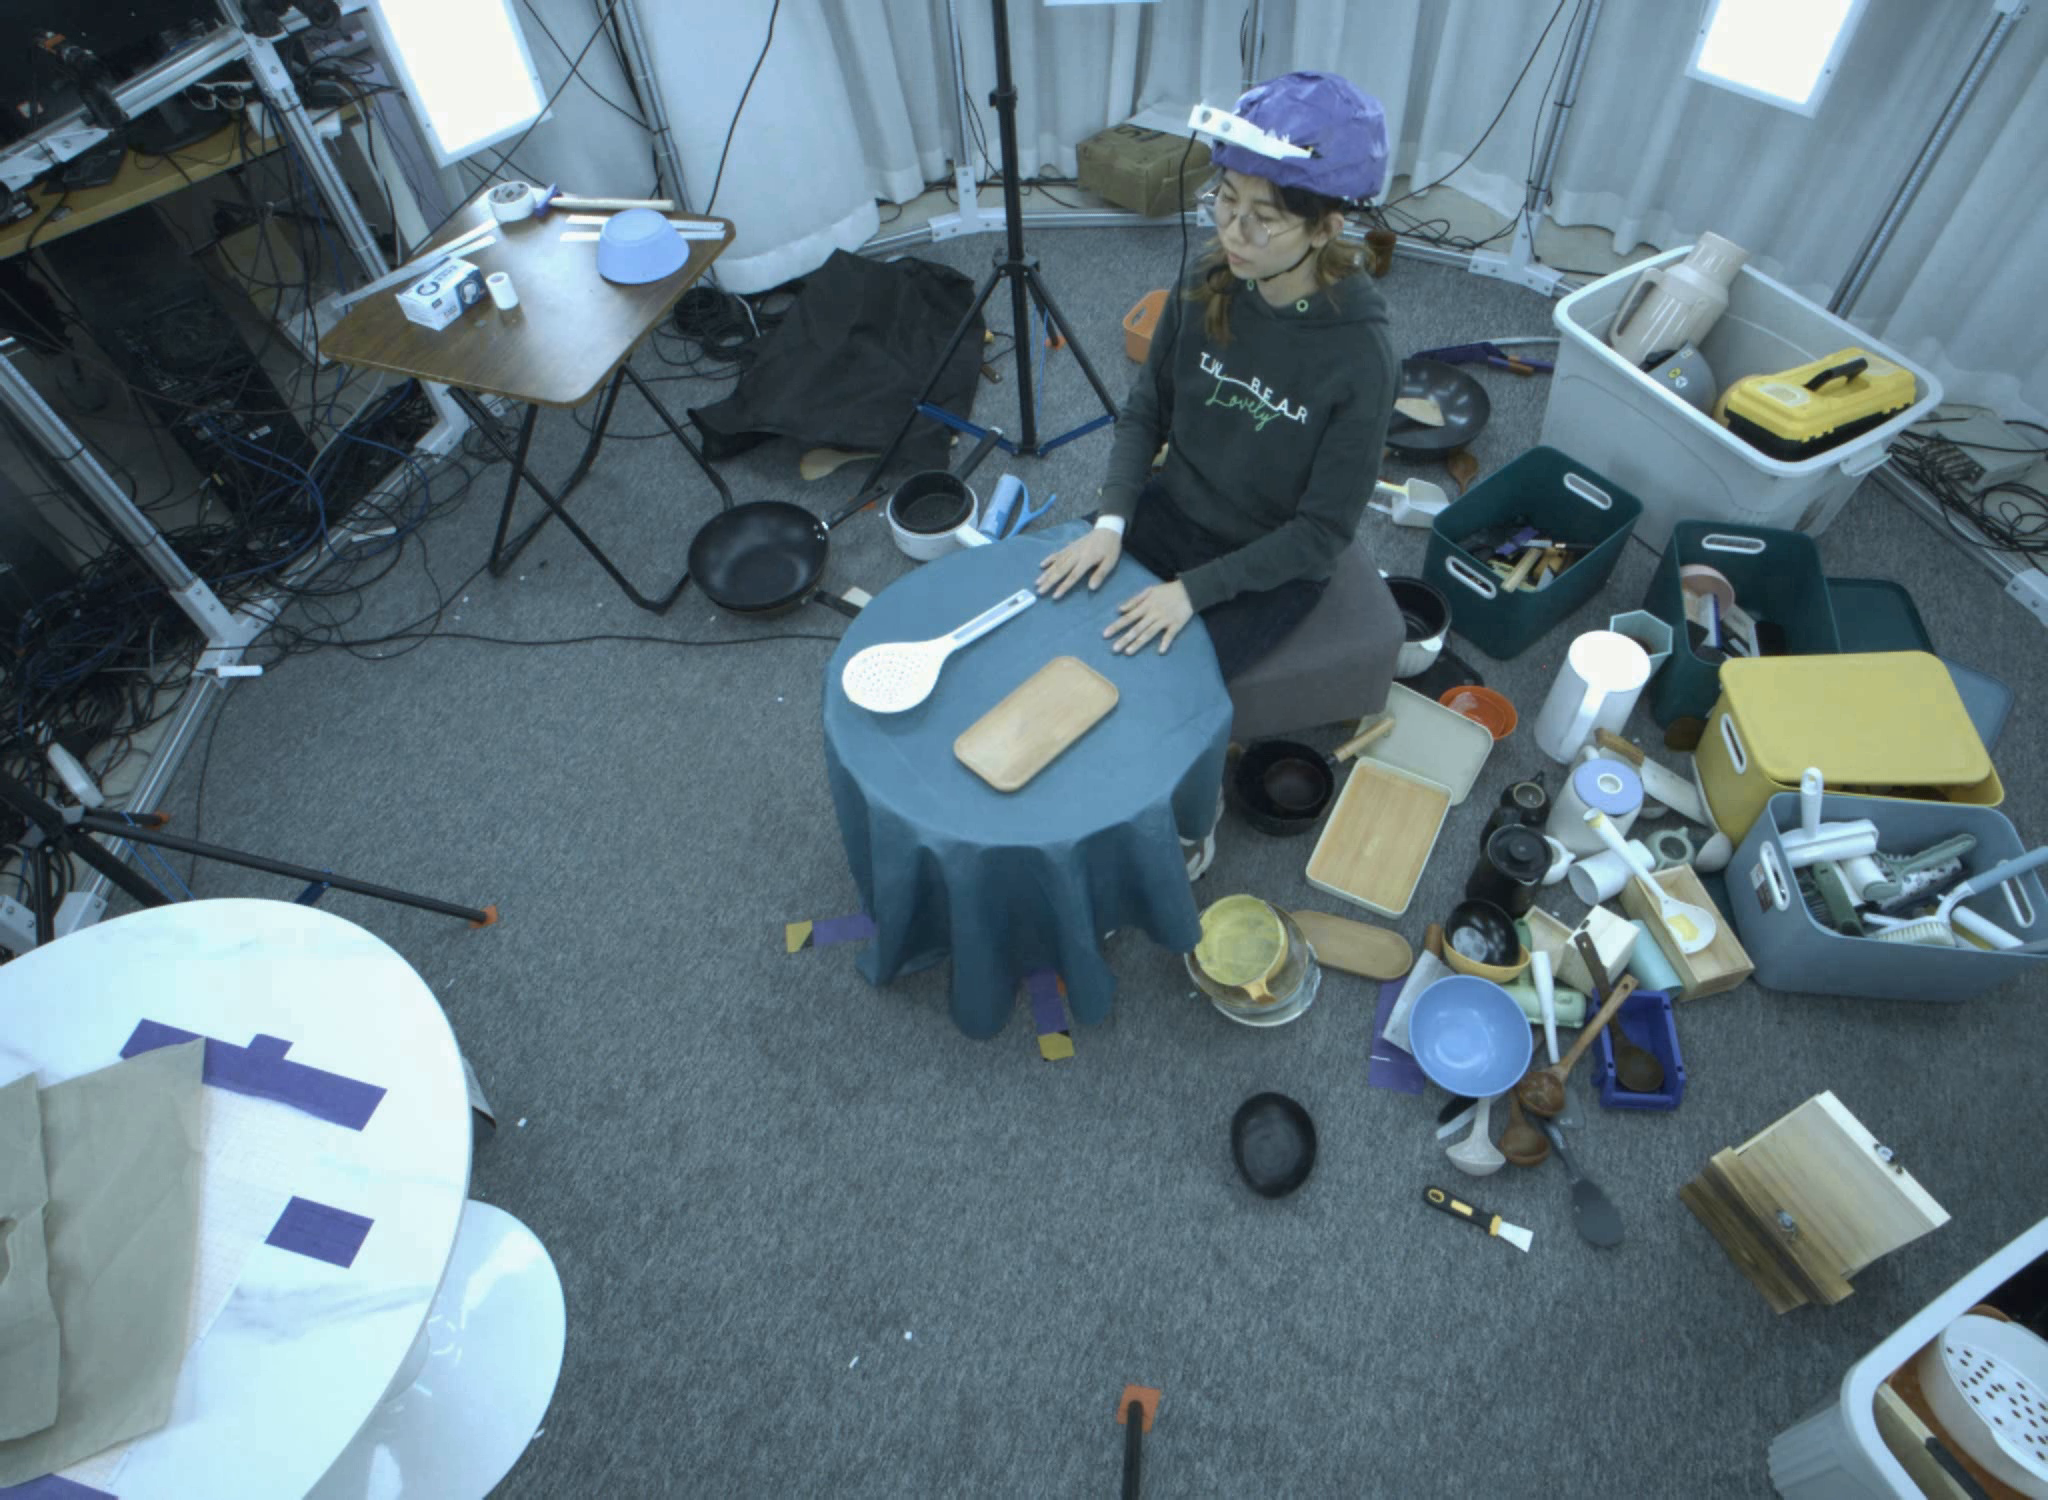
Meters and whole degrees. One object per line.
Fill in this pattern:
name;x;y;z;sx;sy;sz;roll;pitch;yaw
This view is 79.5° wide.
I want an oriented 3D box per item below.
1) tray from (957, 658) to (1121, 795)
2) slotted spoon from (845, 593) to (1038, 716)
tray;0.024;-0.036;1.813;0.128;0.023;0.252;39;64;23
slotted spoon;-0.118;-0.154;1.882;0.352;0.046;0.134;-36;64;-22
